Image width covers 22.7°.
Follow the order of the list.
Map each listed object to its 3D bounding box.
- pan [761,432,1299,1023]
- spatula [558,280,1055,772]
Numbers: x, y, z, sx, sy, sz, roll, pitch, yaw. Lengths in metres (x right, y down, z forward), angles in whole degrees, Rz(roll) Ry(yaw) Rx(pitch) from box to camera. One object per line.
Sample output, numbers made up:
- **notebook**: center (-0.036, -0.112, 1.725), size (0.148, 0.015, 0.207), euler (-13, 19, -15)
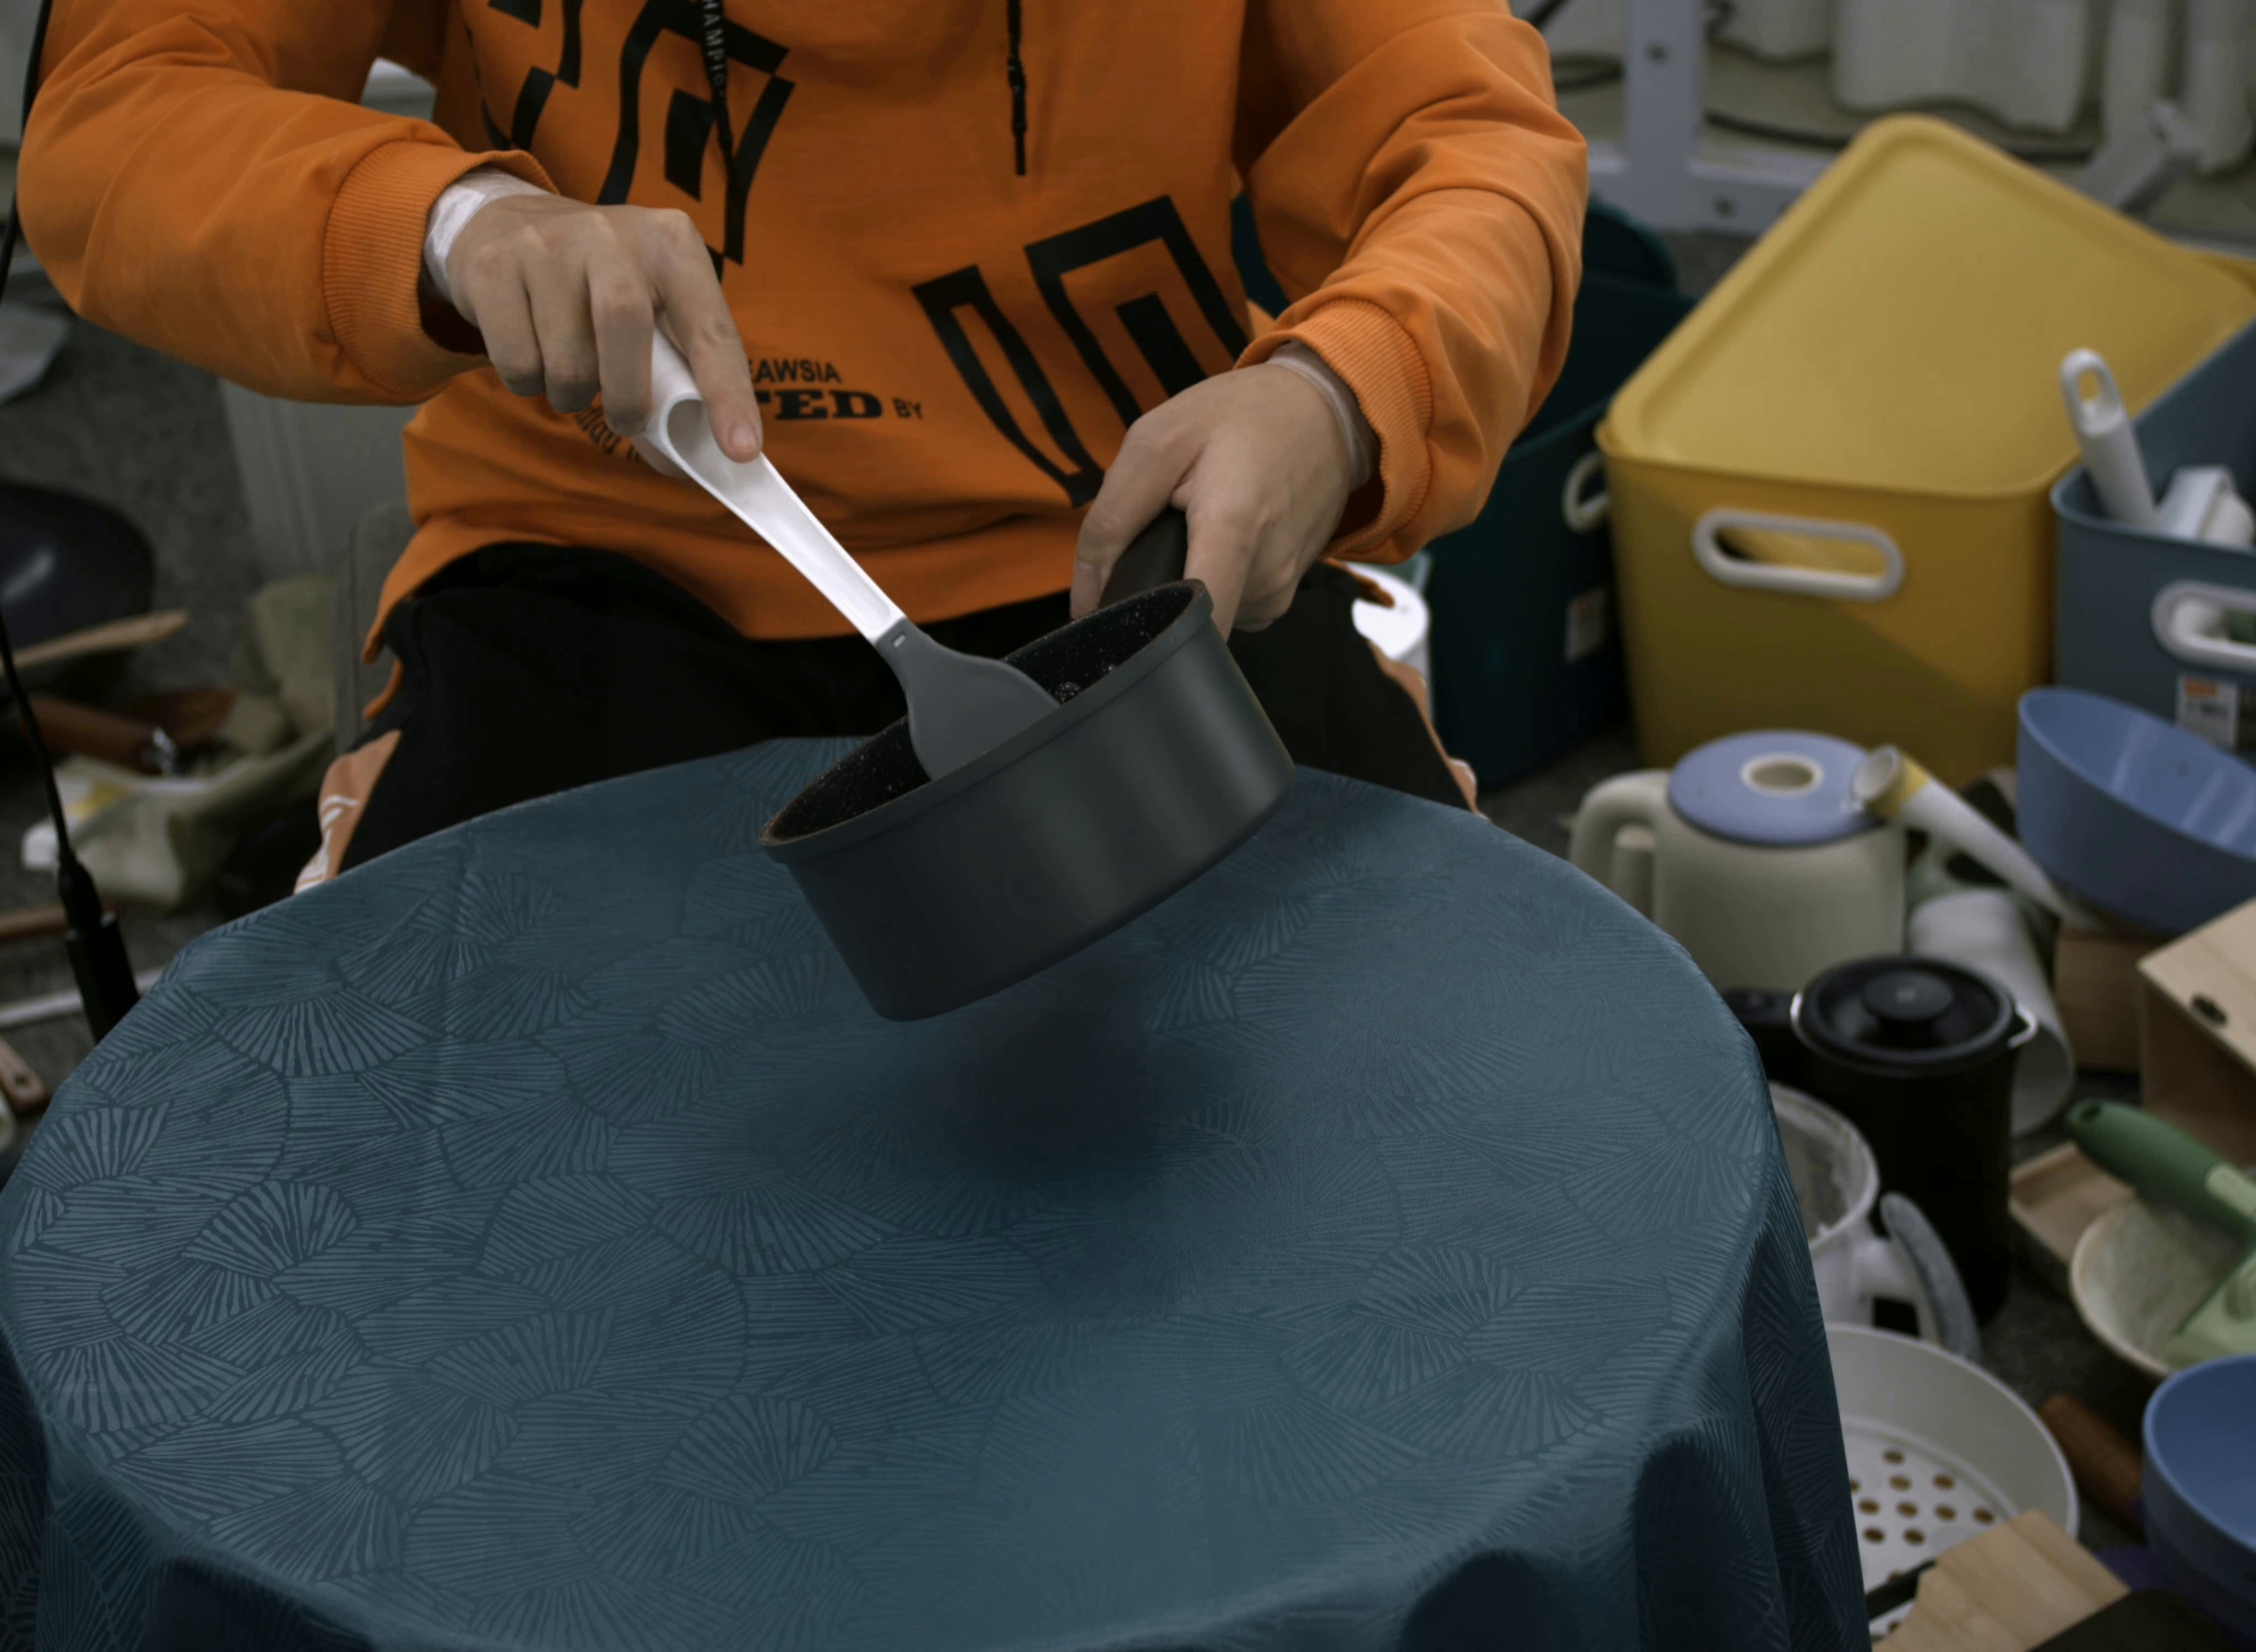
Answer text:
- **pan**: center (-0.004, -0.040, 1.936), size (0.169, 0.086, 0.334), euler (-24, 13, 29)
- **spatula**: center (-0.099, -0.086, 1.942), size (0.059, 0.032, 0.289), euler (-40, 66, -9)
